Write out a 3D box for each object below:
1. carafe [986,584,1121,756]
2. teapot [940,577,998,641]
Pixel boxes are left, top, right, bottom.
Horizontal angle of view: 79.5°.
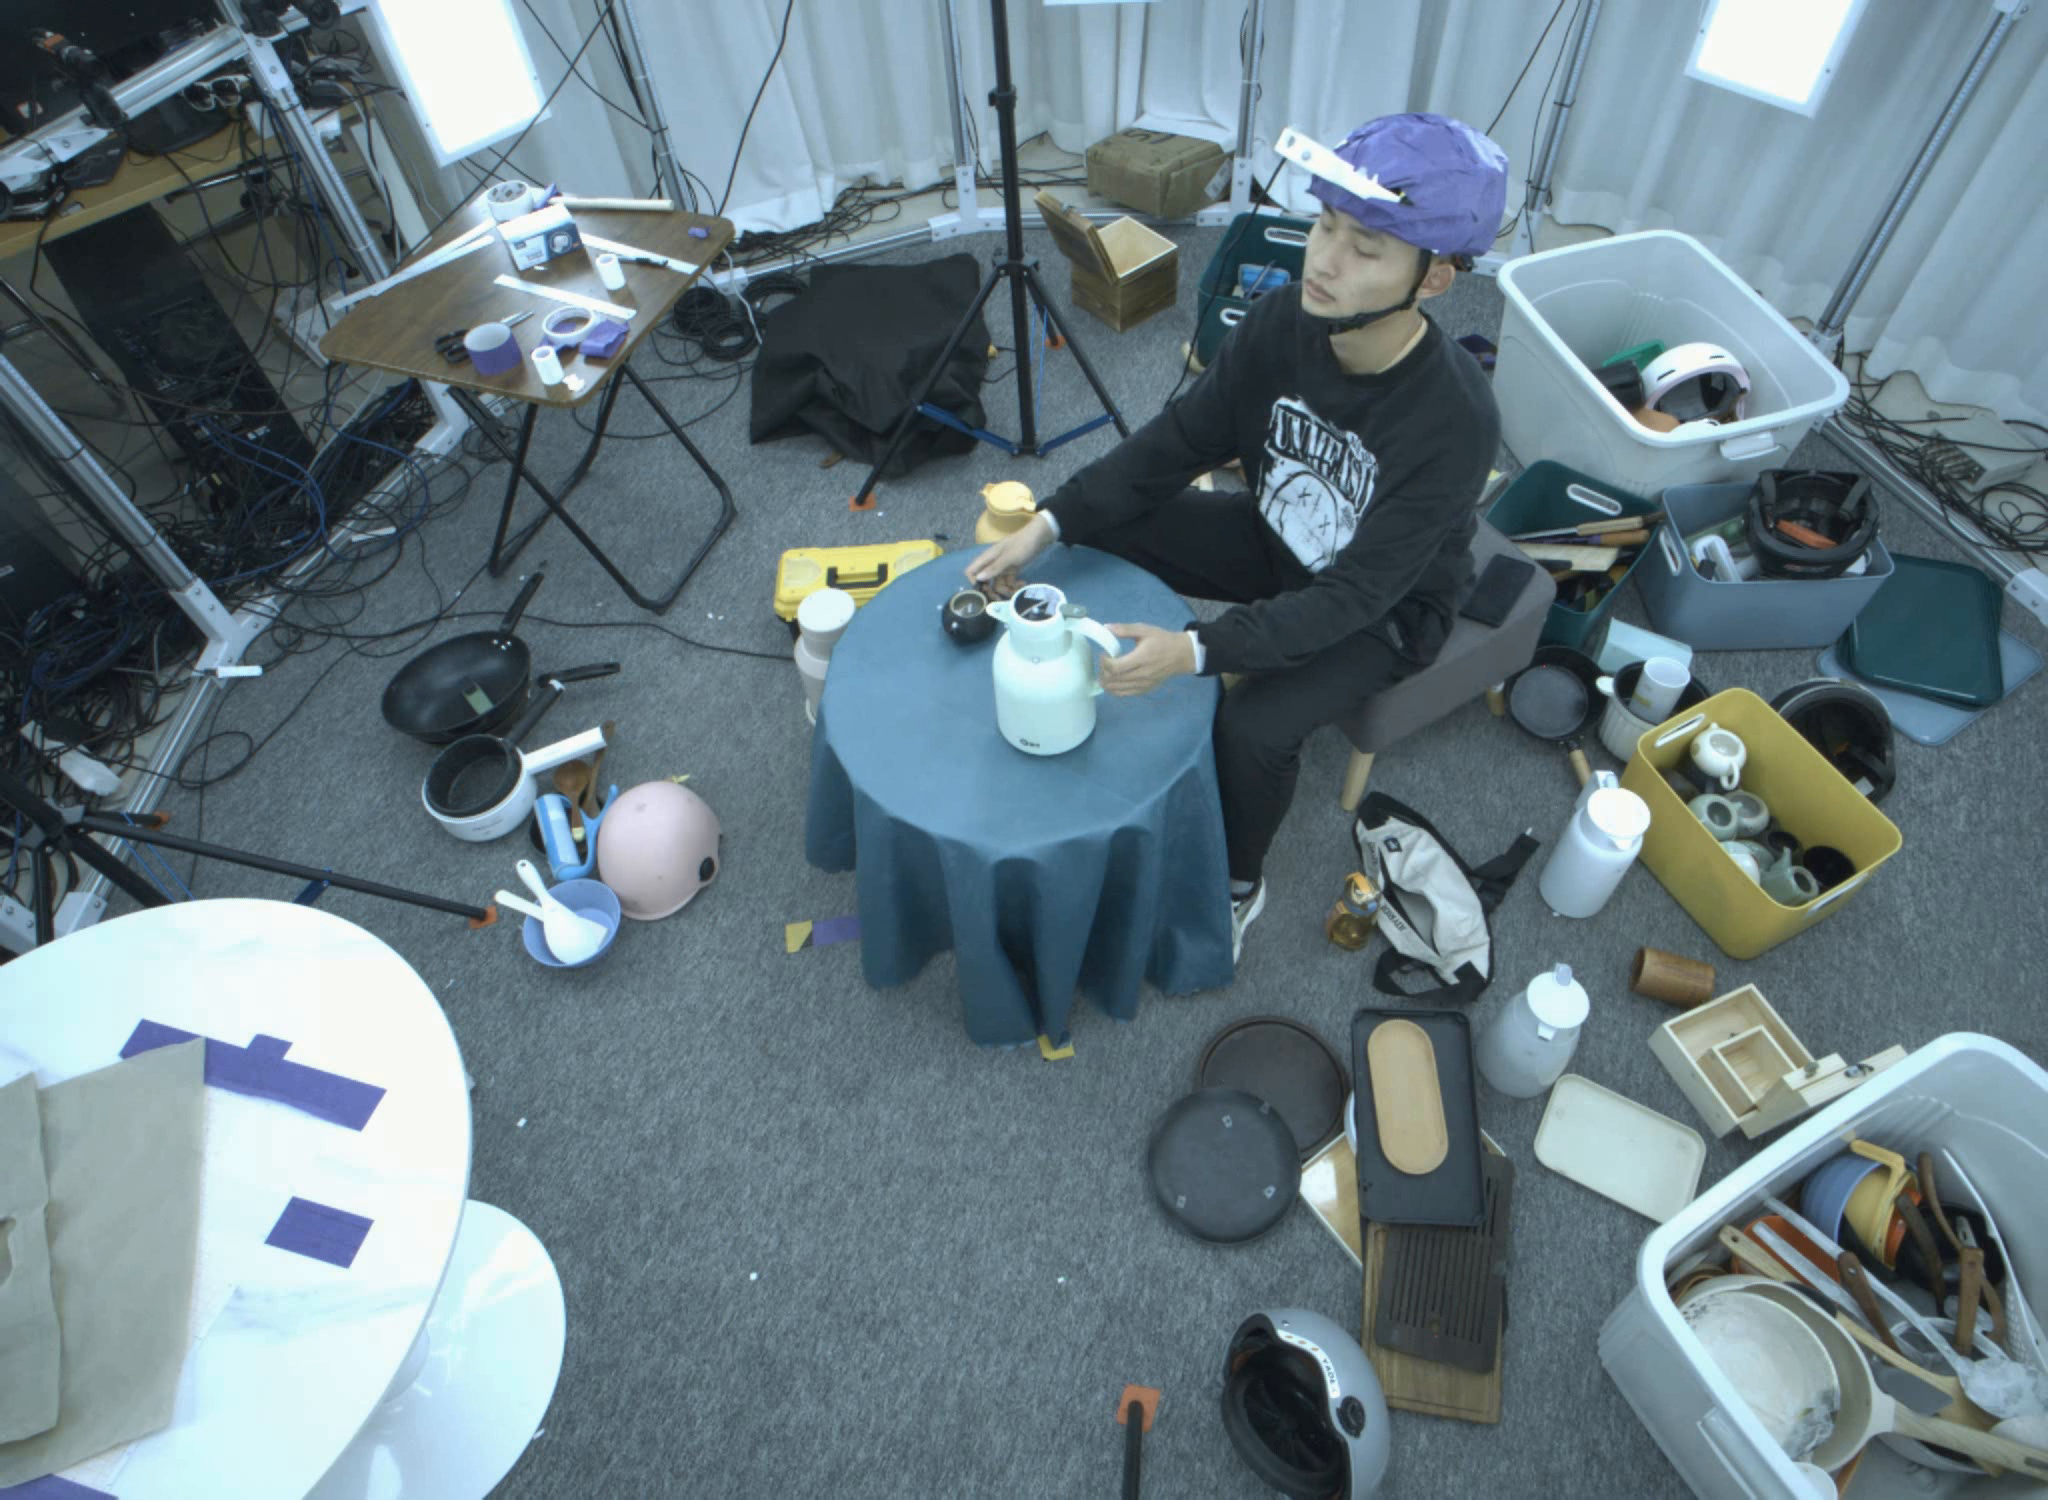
[{"bbox_3d":[0.039,-0.114,1.709,0.186,0.259,0.144,12,54,8],"label":"carafe"},{"bbox_3d":[-0.086,-0.212,1.904,0.090,0.053,0.133,17,58,12],"label":"teapot"}]
